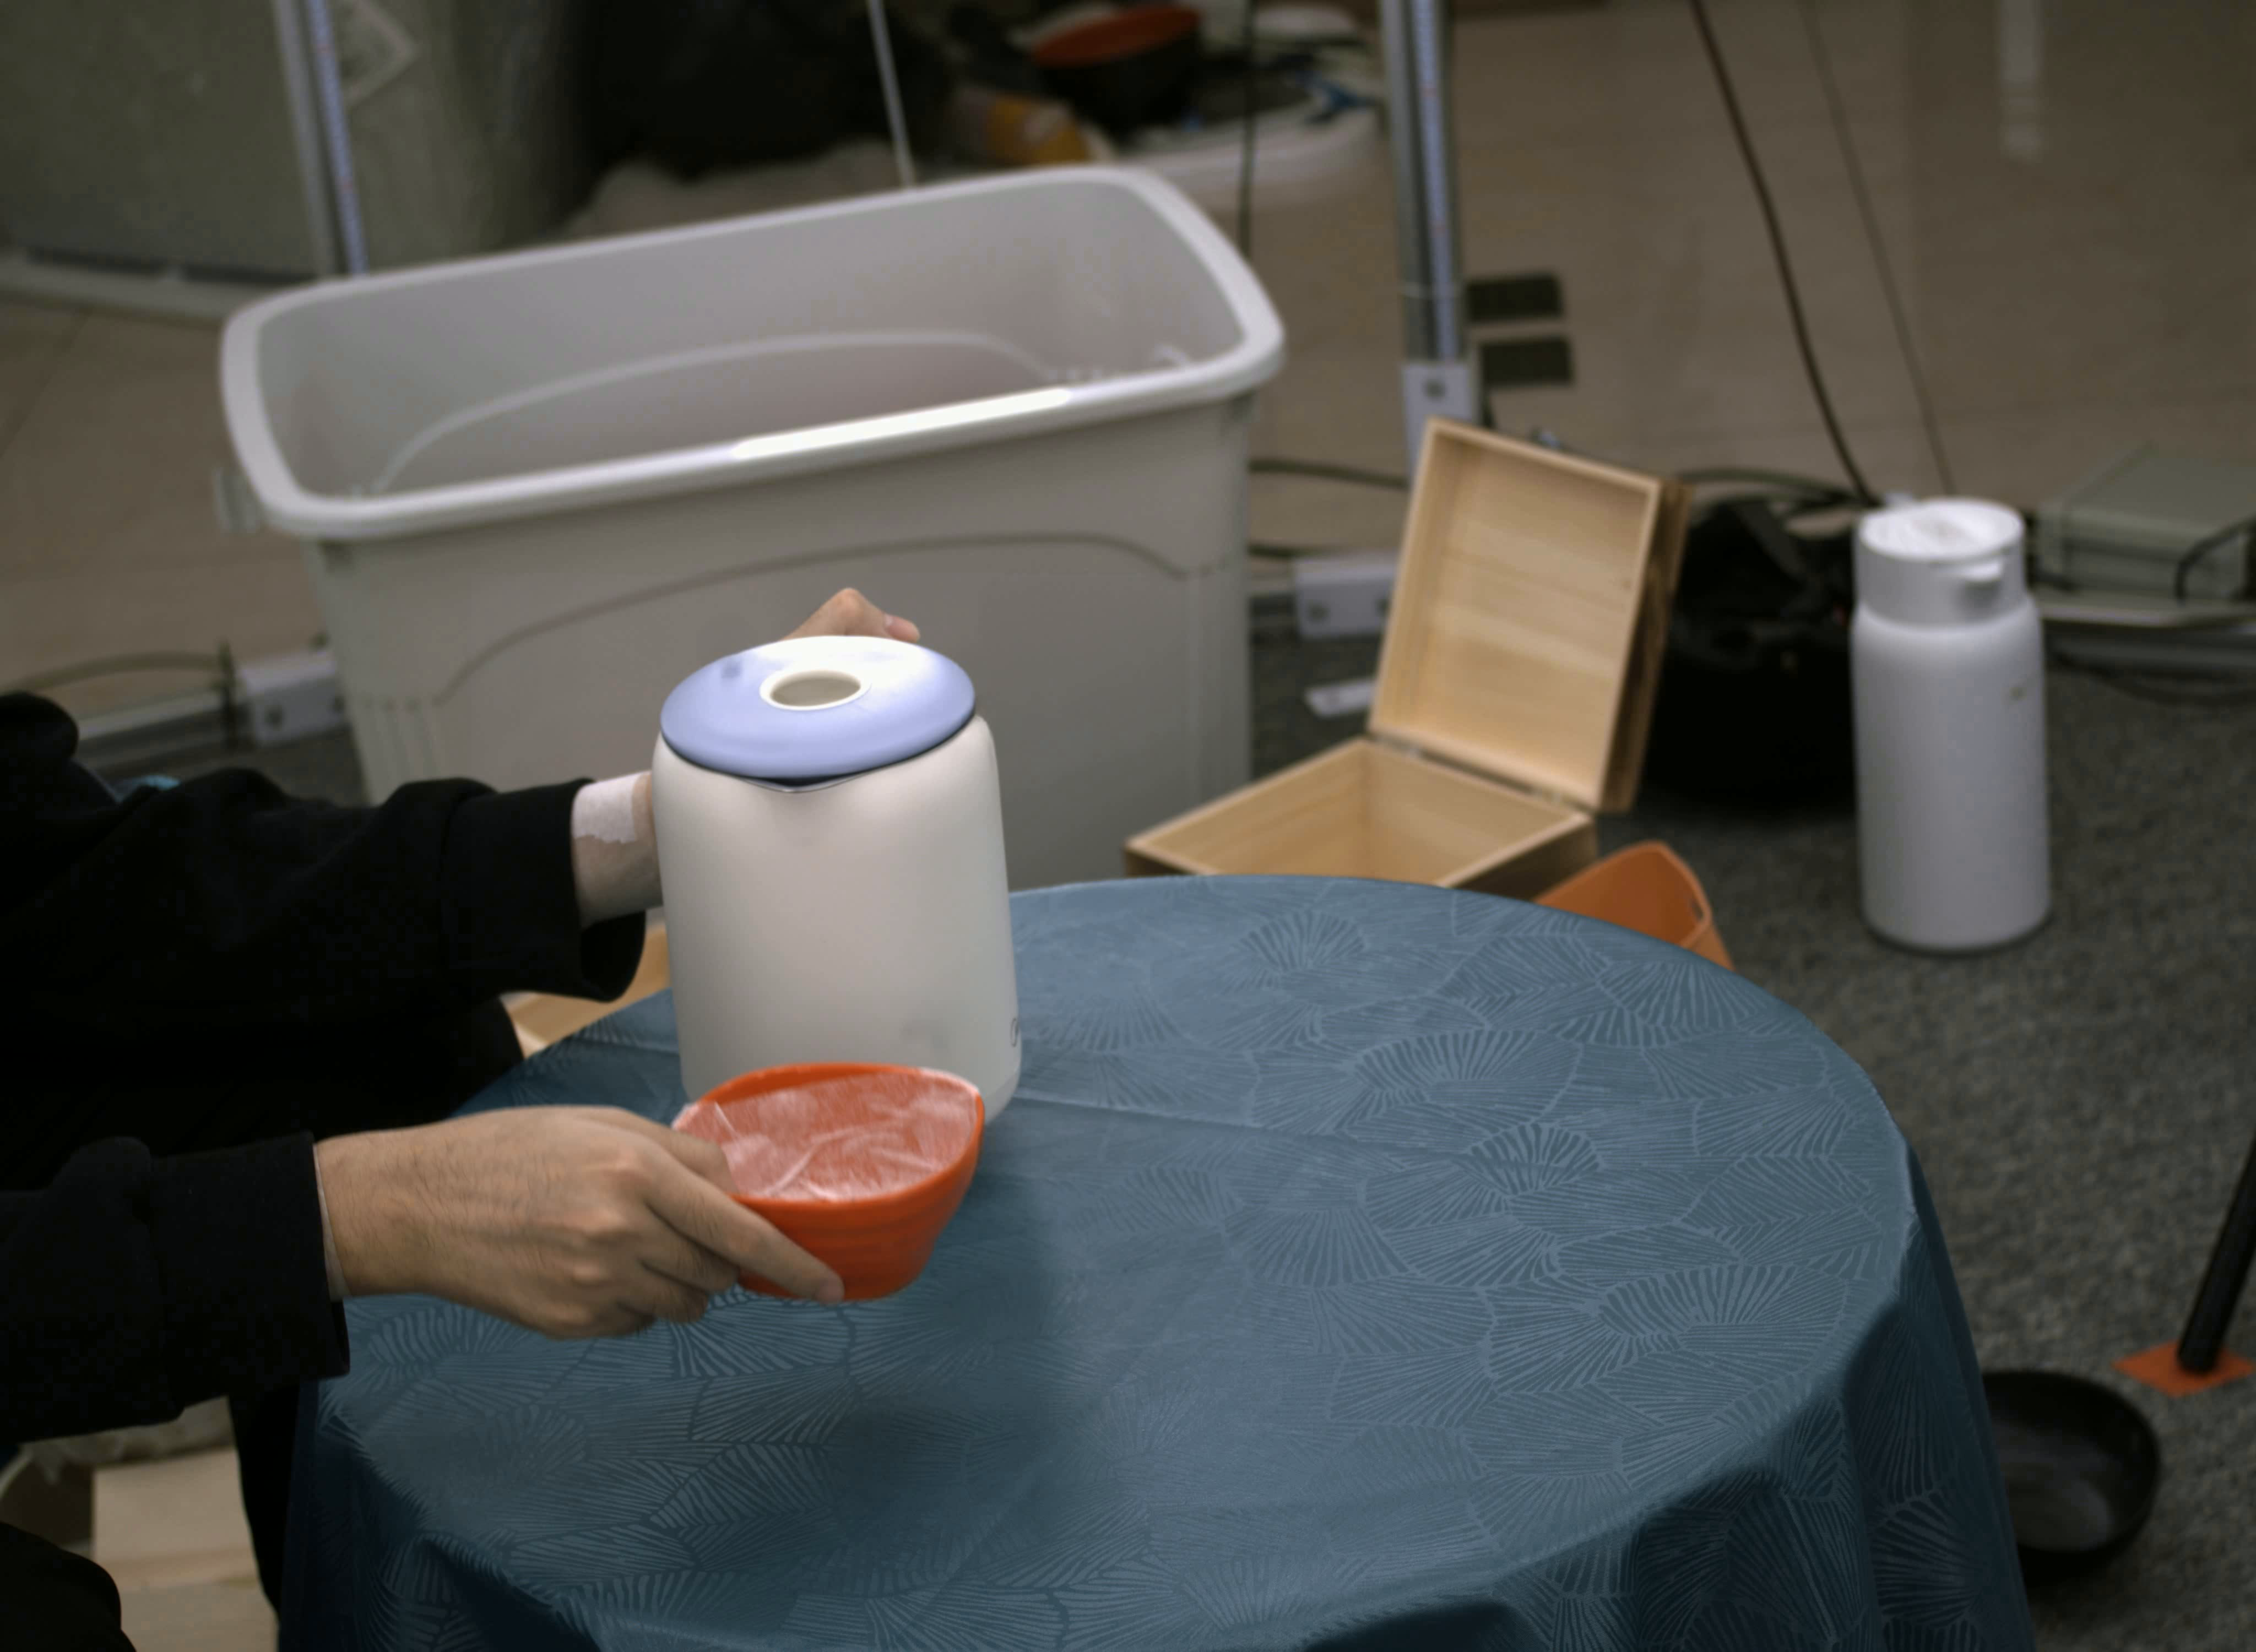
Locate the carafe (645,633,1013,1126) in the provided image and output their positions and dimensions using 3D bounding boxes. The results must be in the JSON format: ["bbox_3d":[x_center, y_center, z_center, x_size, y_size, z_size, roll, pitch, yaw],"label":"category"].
[{"bbox_3d":[-0.112,0.018,2.165,0.132,0.185,0.188,-2,24,2],"label":"carafe"}]

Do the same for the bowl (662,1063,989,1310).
[{"bbox_3d":[-0.104,0.130,1.985,0.119,0.052,0.117,-2,26,1],"label":"bowl"}]
